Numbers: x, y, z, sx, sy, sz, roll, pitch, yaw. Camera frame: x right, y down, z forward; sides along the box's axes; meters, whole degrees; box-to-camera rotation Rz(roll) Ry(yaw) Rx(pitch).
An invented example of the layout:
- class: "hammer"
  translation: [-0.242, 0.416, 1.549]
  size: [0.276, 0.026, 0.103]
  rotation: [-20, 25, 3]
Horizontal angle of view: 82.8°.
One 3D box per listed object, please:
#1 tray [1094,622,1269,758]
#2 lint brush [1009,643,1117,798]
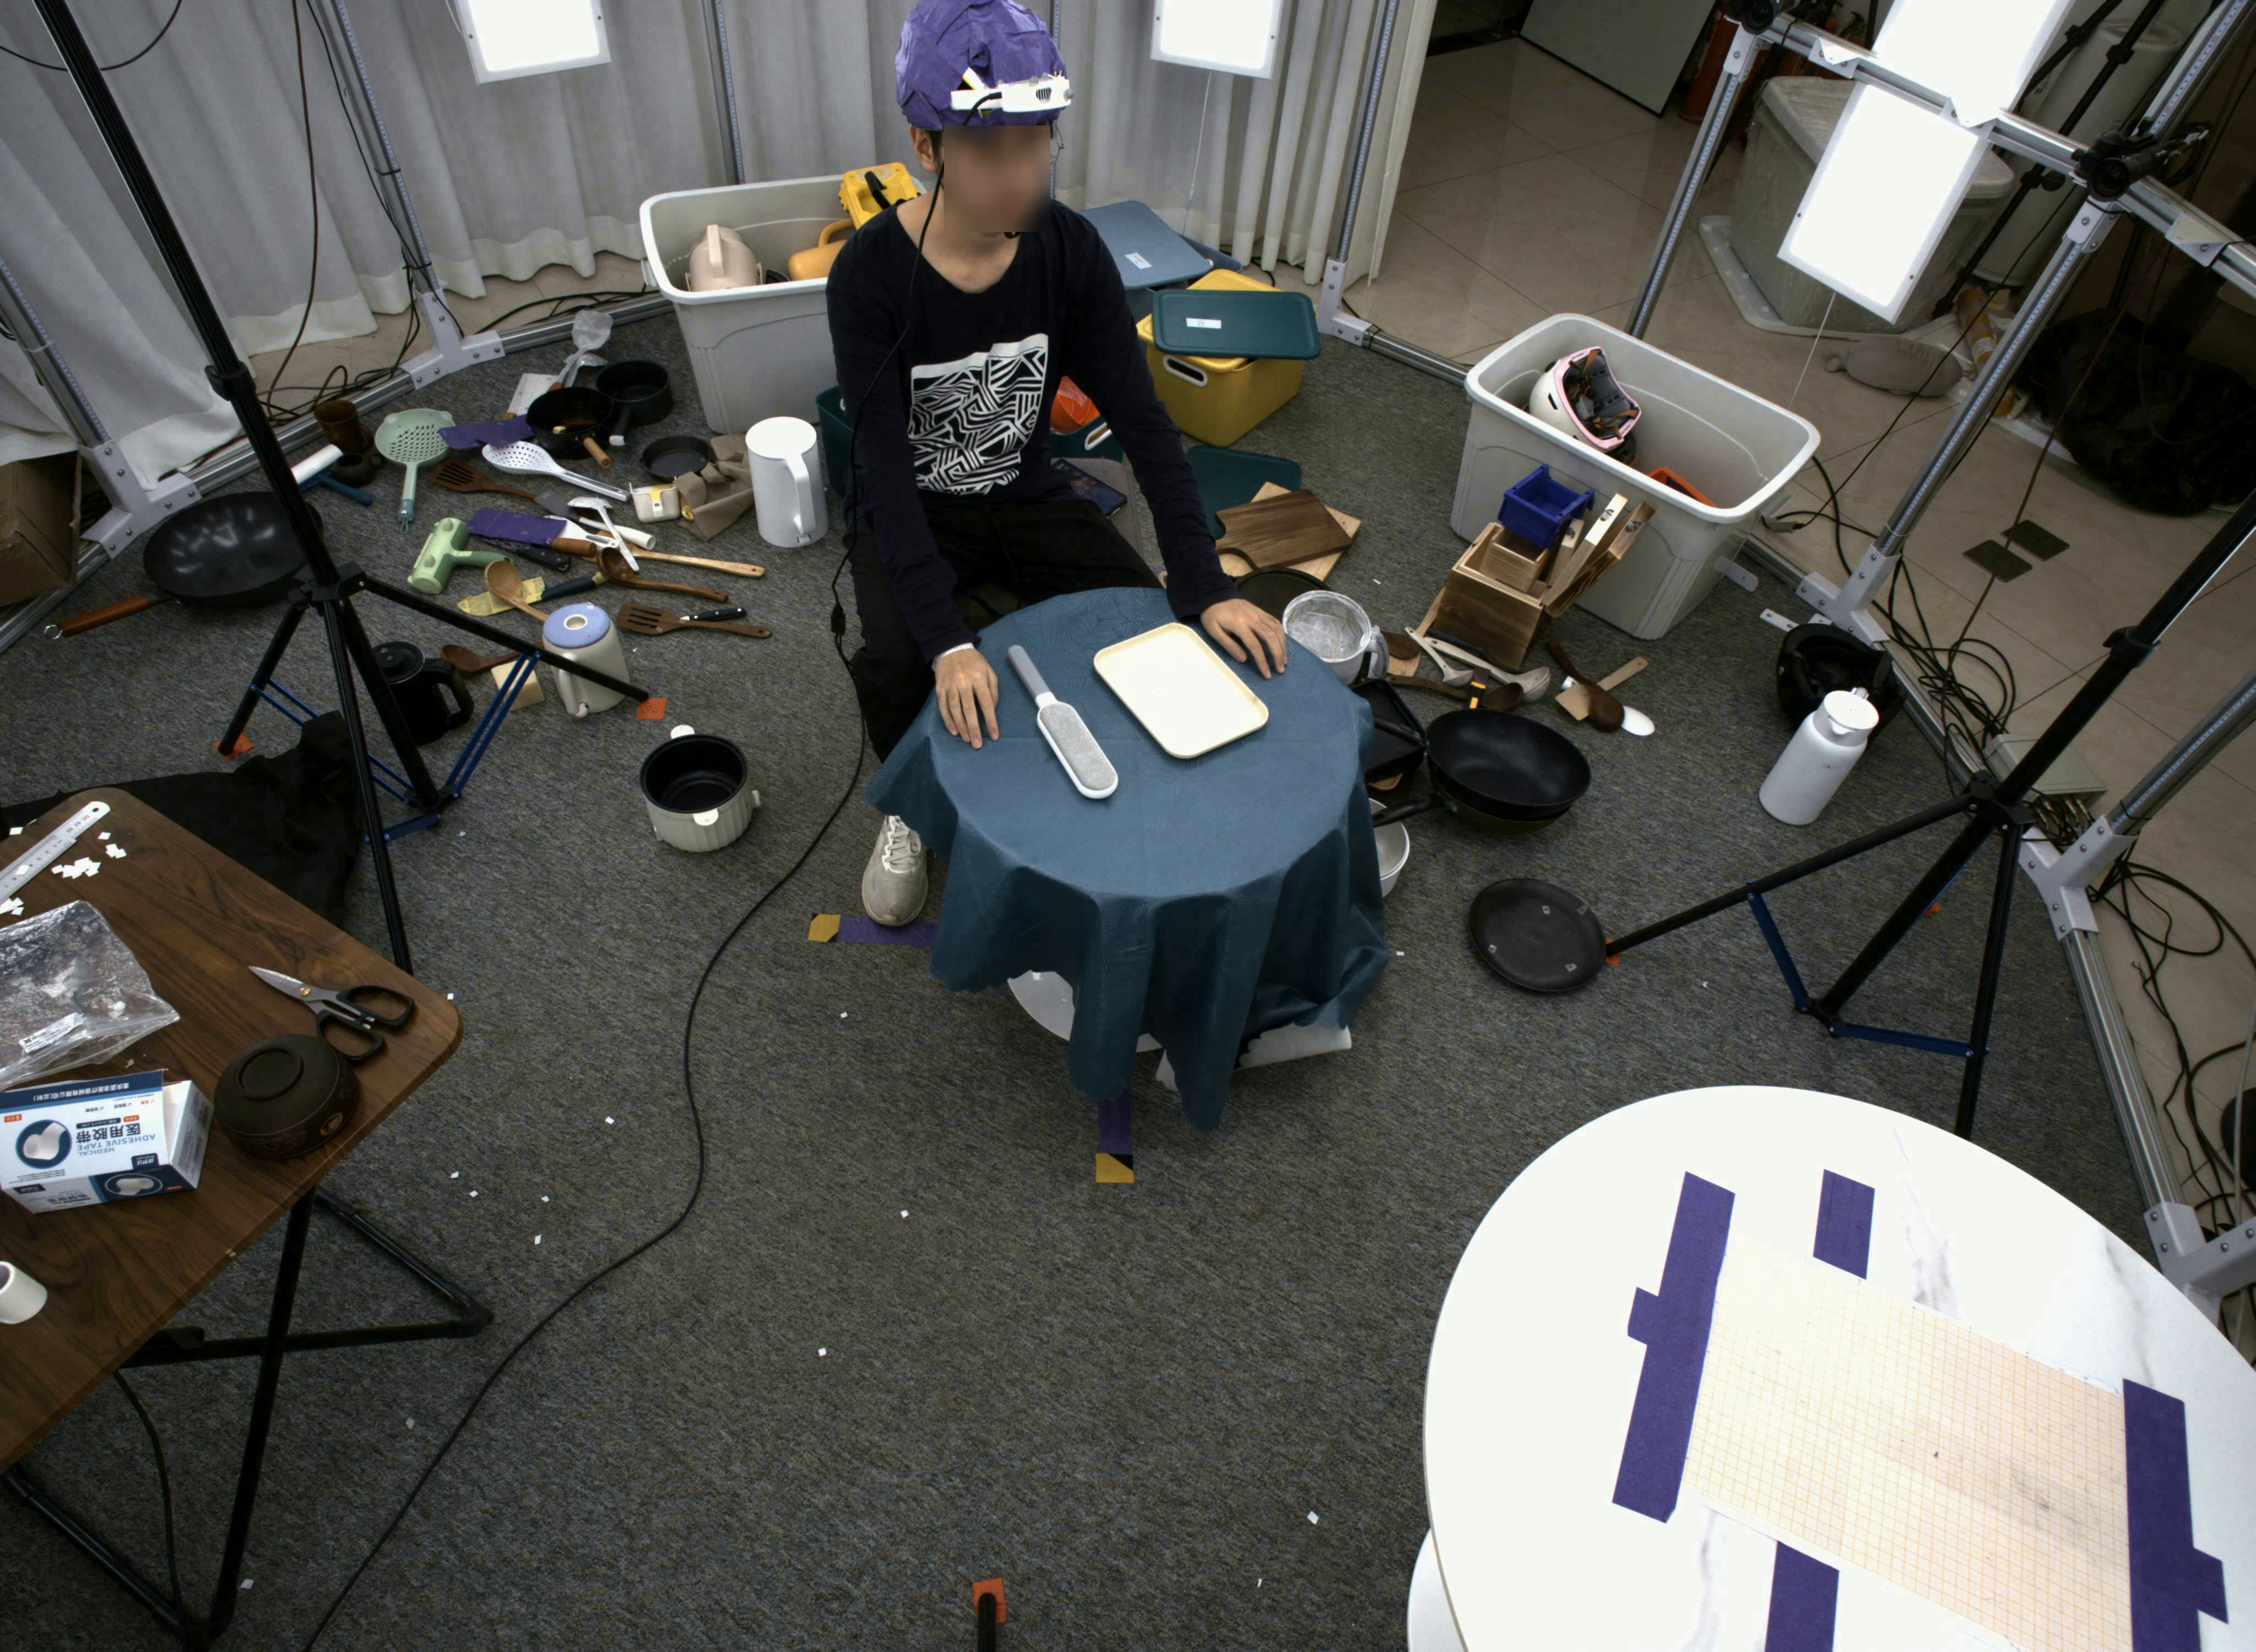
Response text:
- class: "tray"
  translation: [0.074, -0.196, 1.831]
  size: [0.172, 0.017, 0.244]
  rotation: [-25, 55, -22]
- class: "lint brush"
  translation: [-0.096, -0.152, 1.775]
  size: [0.060, 0.020, 0.316]
  rotation: [-21, 53, -14]
